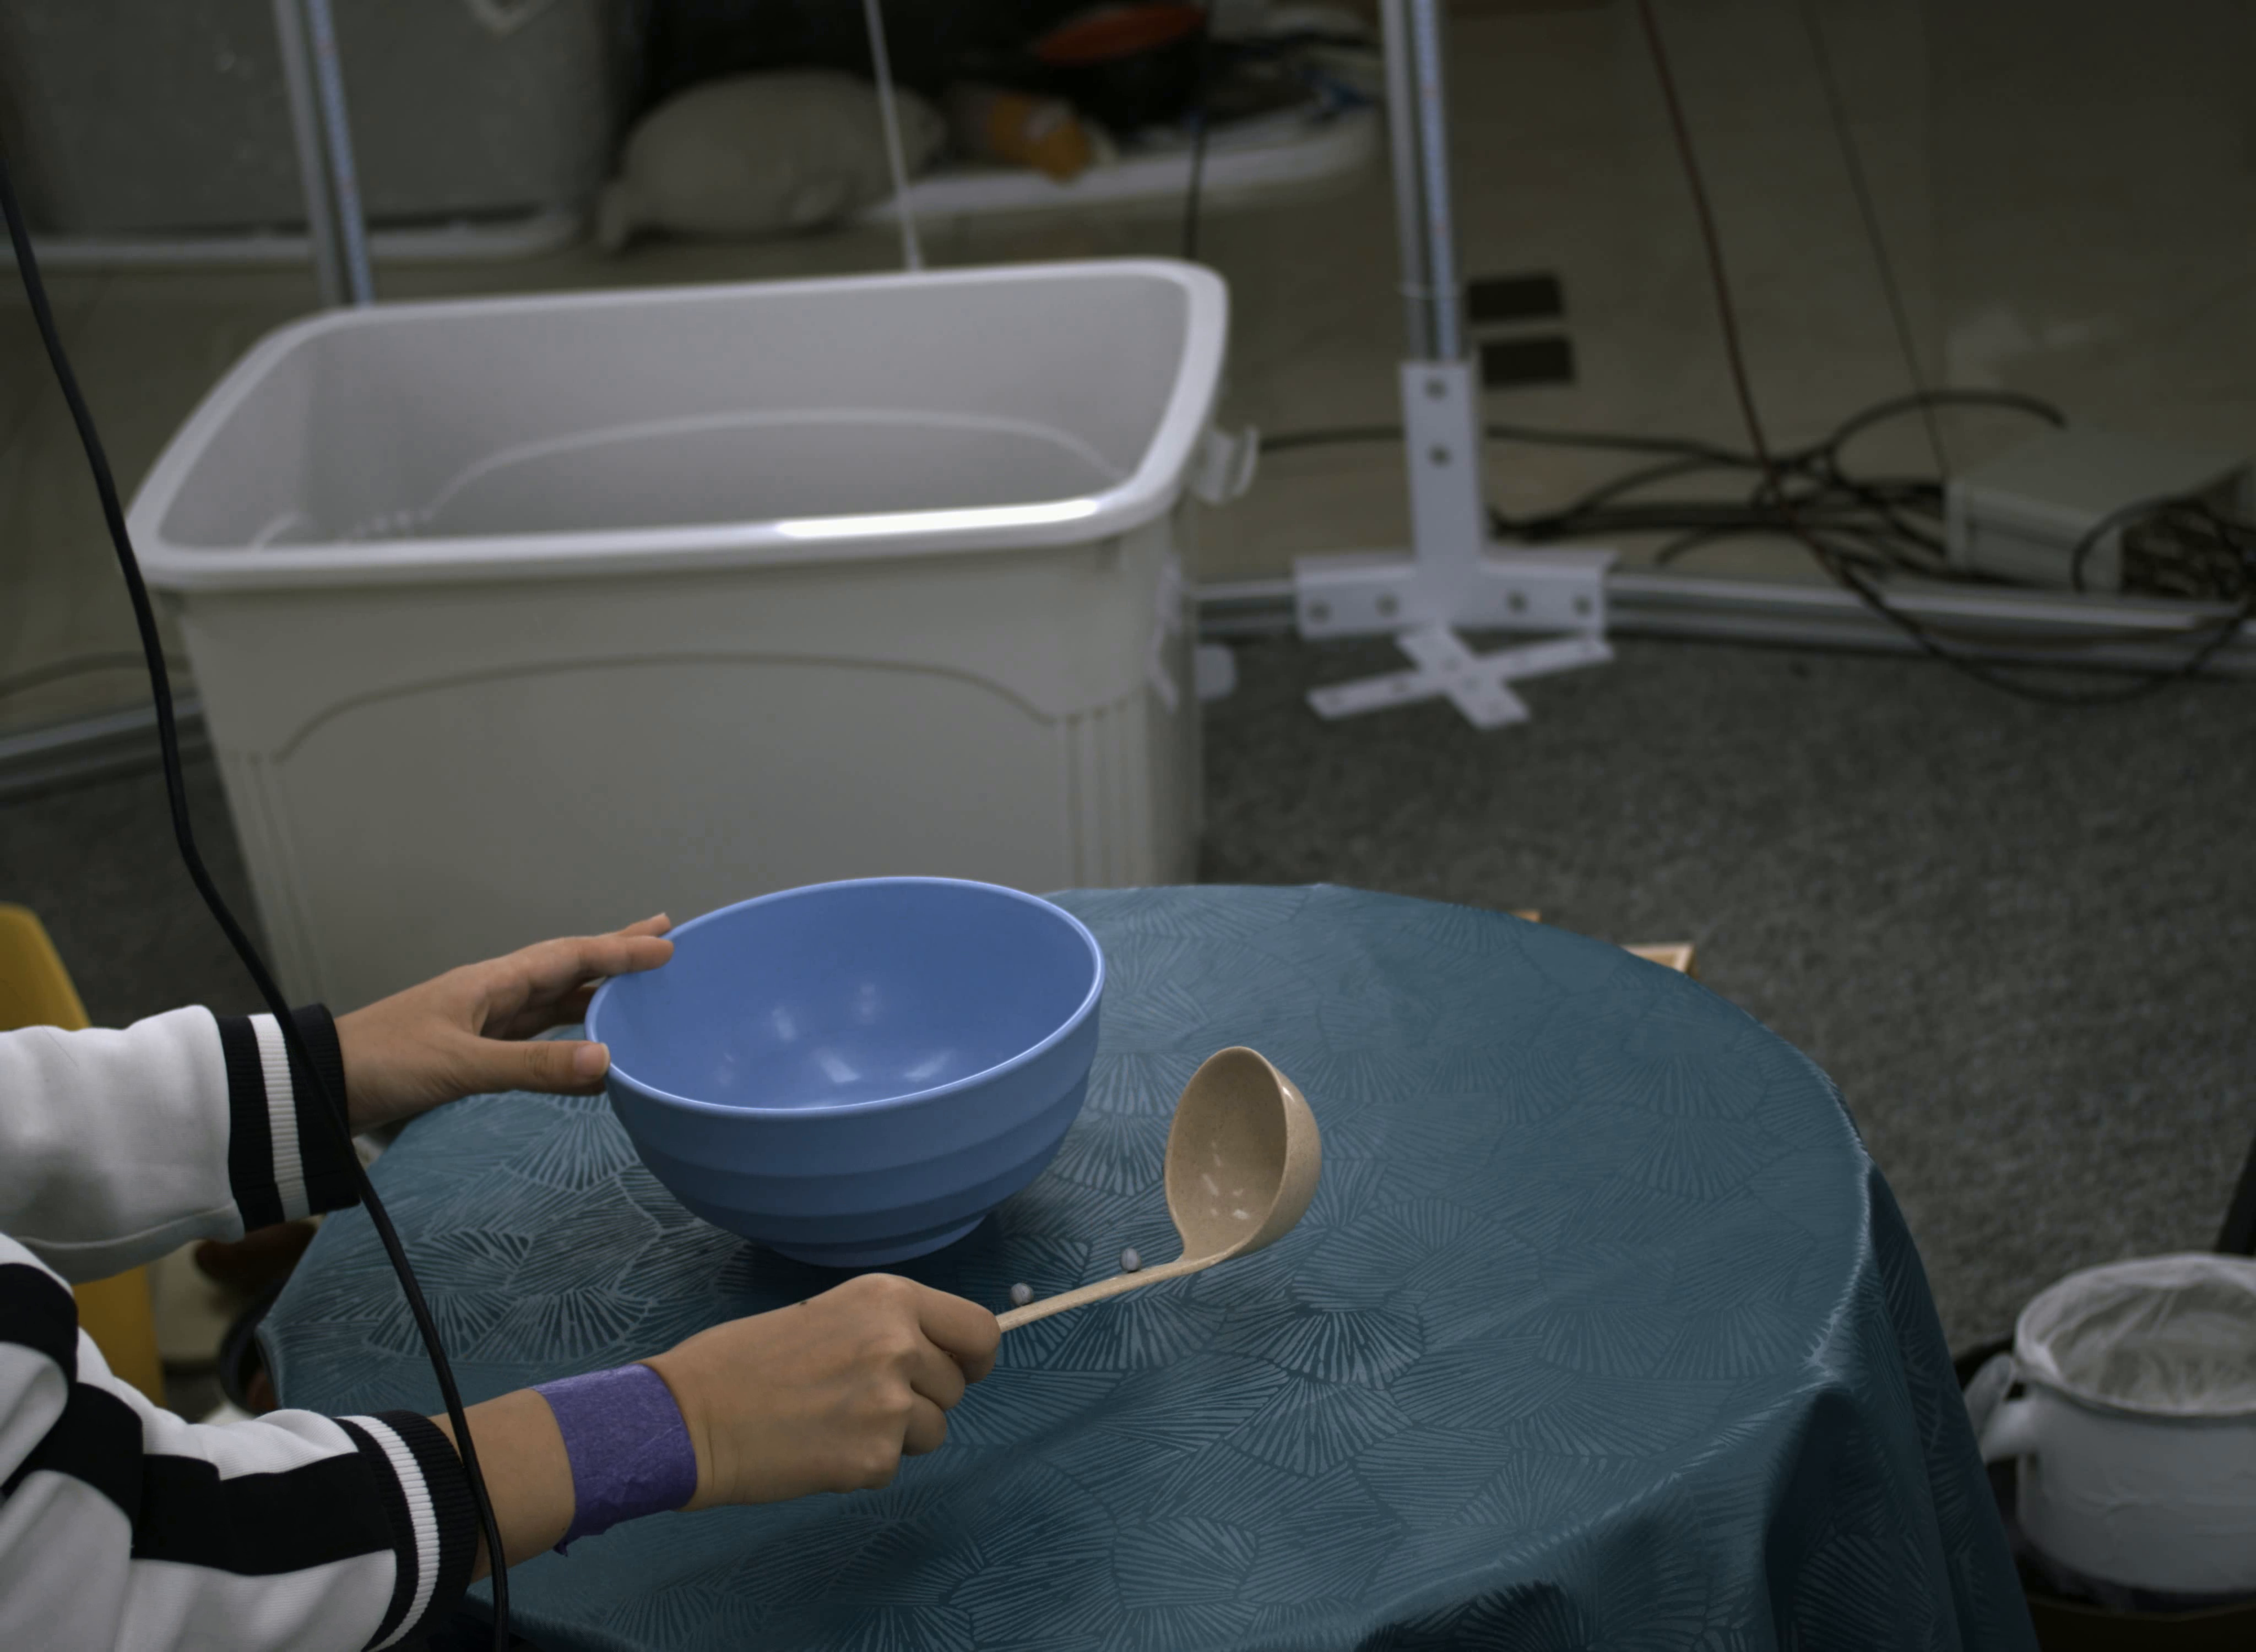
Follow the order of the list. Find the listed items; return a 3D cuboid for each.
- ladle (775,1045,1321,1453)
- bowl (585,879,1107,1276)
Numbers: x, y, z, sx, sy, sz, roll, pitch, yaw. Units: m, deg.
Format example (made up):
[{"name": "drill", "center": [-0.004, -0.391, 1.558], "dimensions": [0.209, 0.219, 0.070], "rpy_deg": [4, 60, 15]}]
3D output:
[{"name": "ladle", "center": [-0.035, 0.143, 1.973], "dimensions": [0.253, 0.073, 0.072], "rpy_deg": [-19, 5, -40]}, {"name": "bowl", "center": [-0.101, 0.106, 2.138], "dimensions": [0.196, 0.097, 0.193], "rpy_deg": [-5, 27, 2]}]
